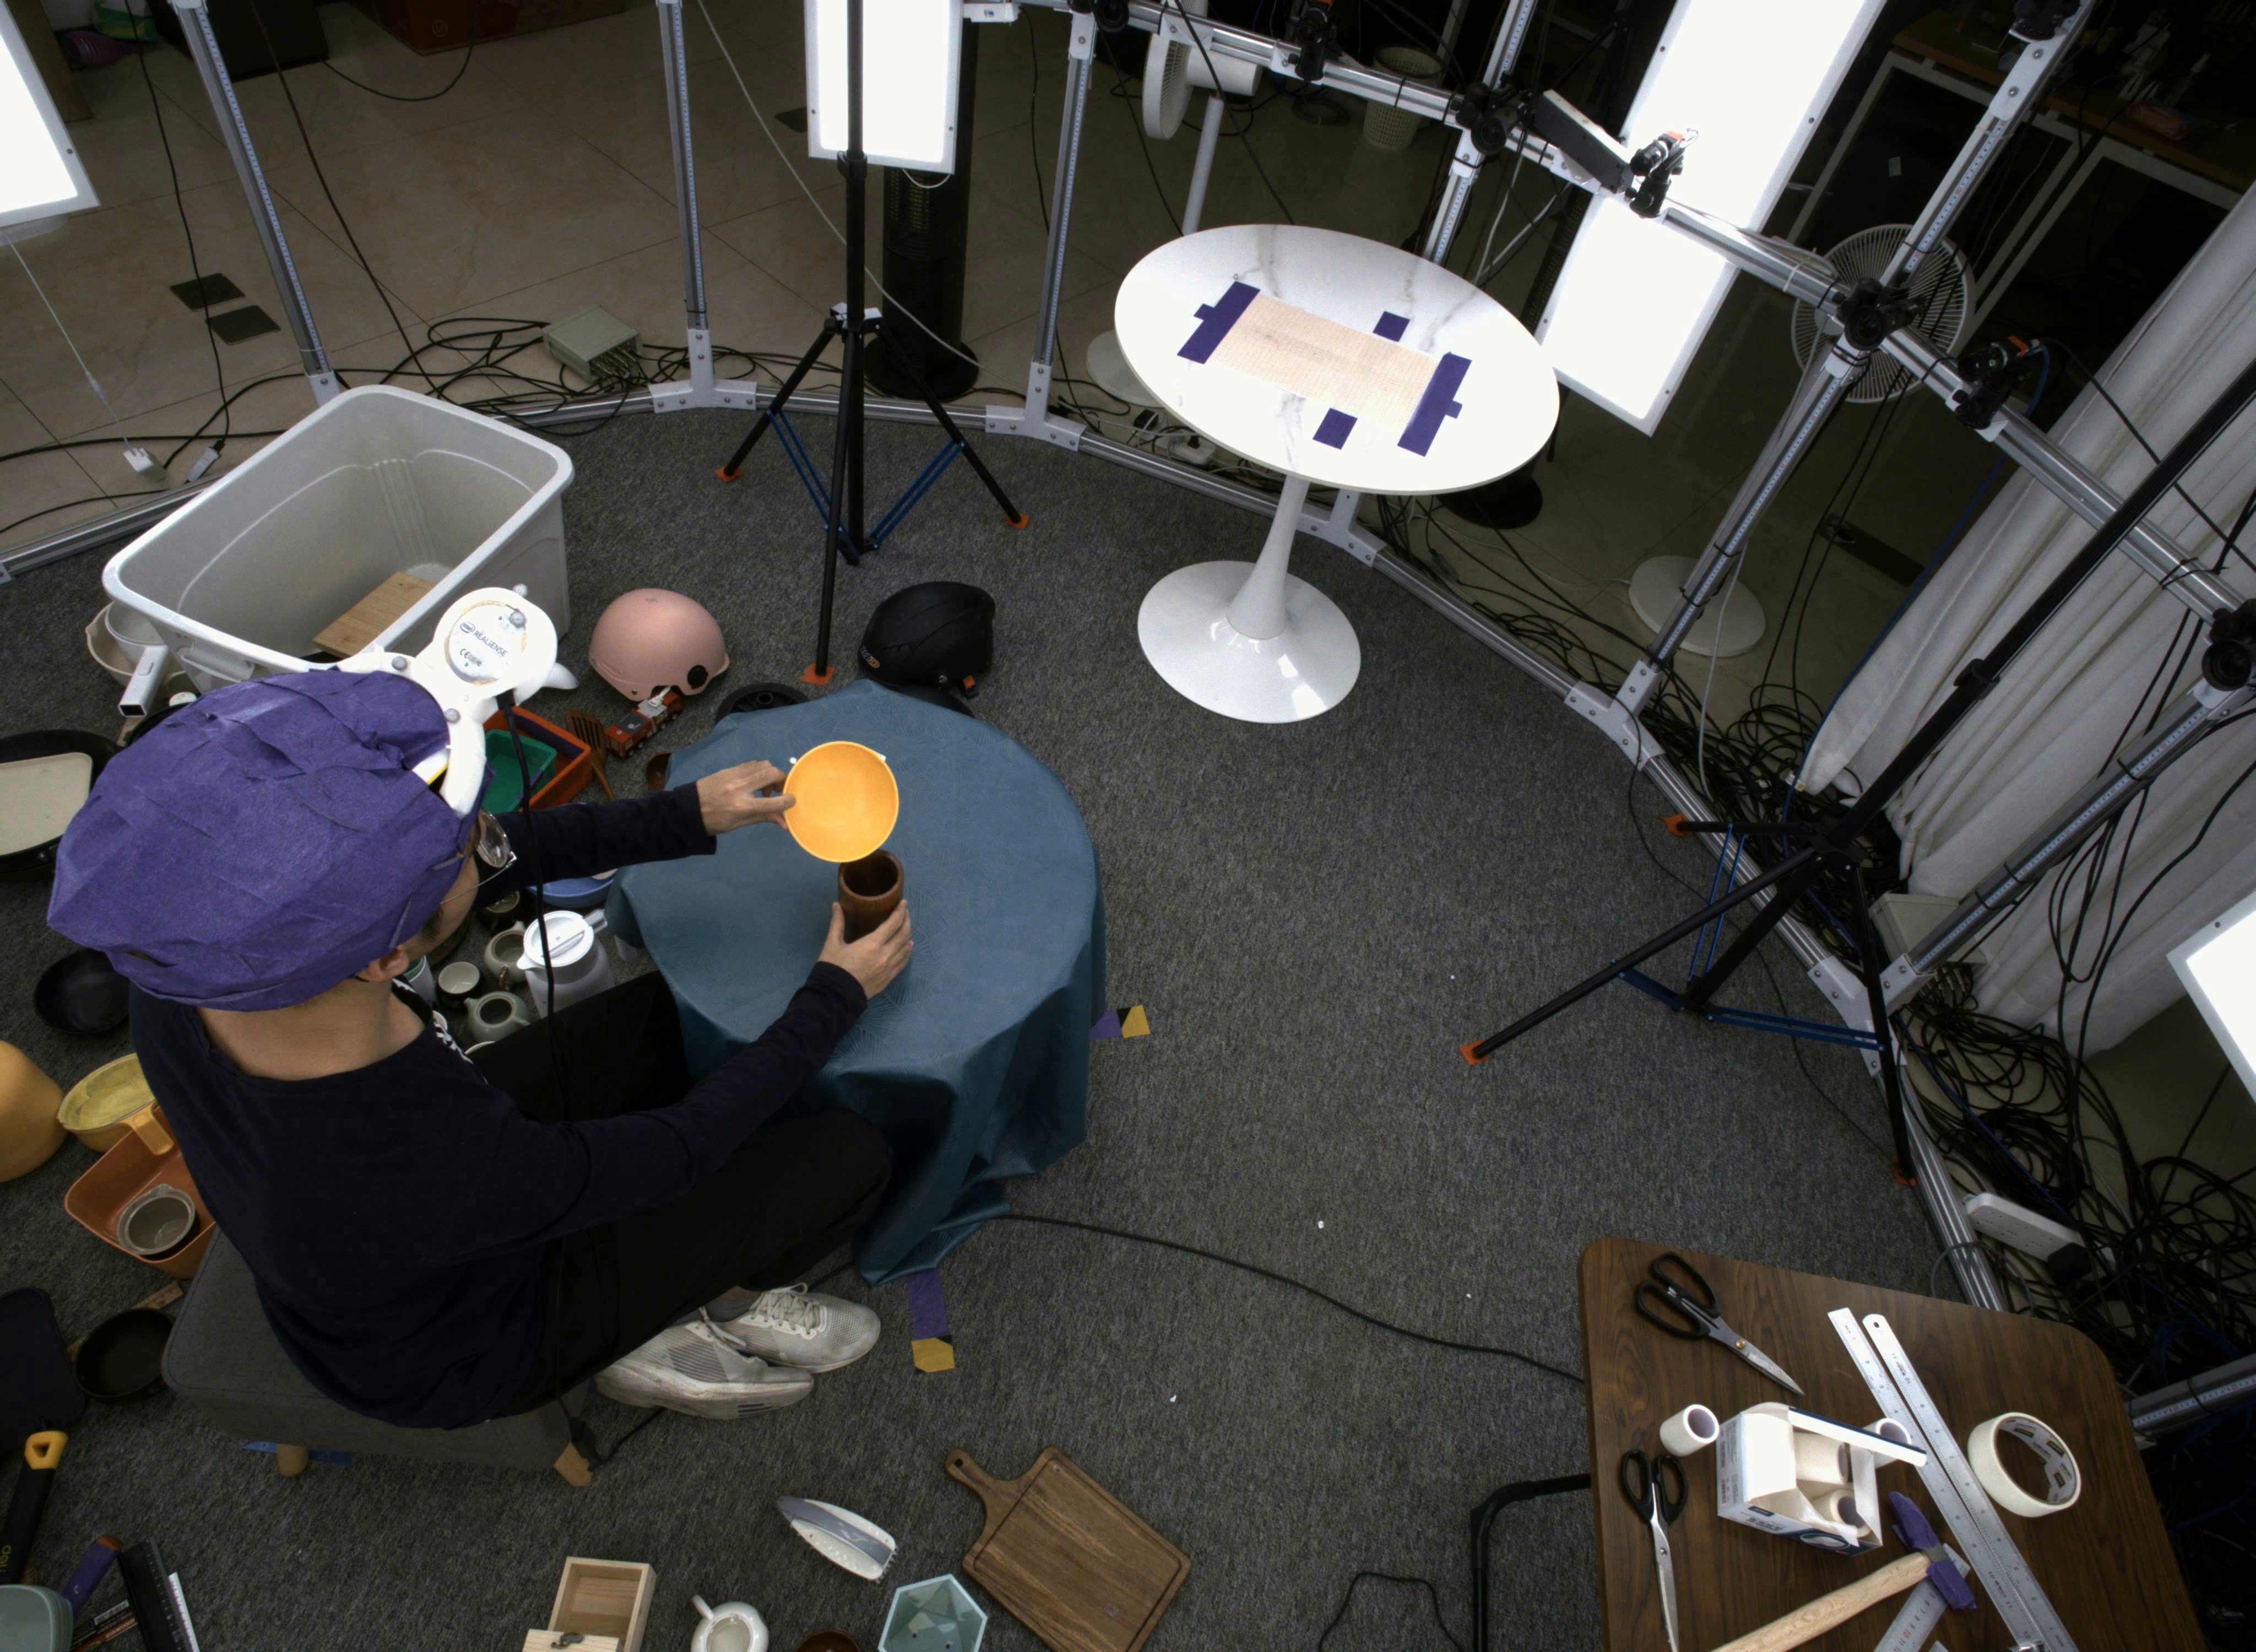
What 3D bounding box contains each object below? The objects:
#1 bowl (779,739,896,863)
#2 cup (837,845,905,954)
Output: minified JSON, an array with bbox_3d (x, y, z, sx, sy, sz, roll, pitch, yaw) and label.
[{"bbox_3d":[-0.358,-0.030,1.569,0.147,0.058,0.147,-2,94,-31],"label":"bowl"},{"bbox_3d":[-0.316,0.091,1.608,0.087,0.121,0.086,5,50,-4],"label":"cup"}]
